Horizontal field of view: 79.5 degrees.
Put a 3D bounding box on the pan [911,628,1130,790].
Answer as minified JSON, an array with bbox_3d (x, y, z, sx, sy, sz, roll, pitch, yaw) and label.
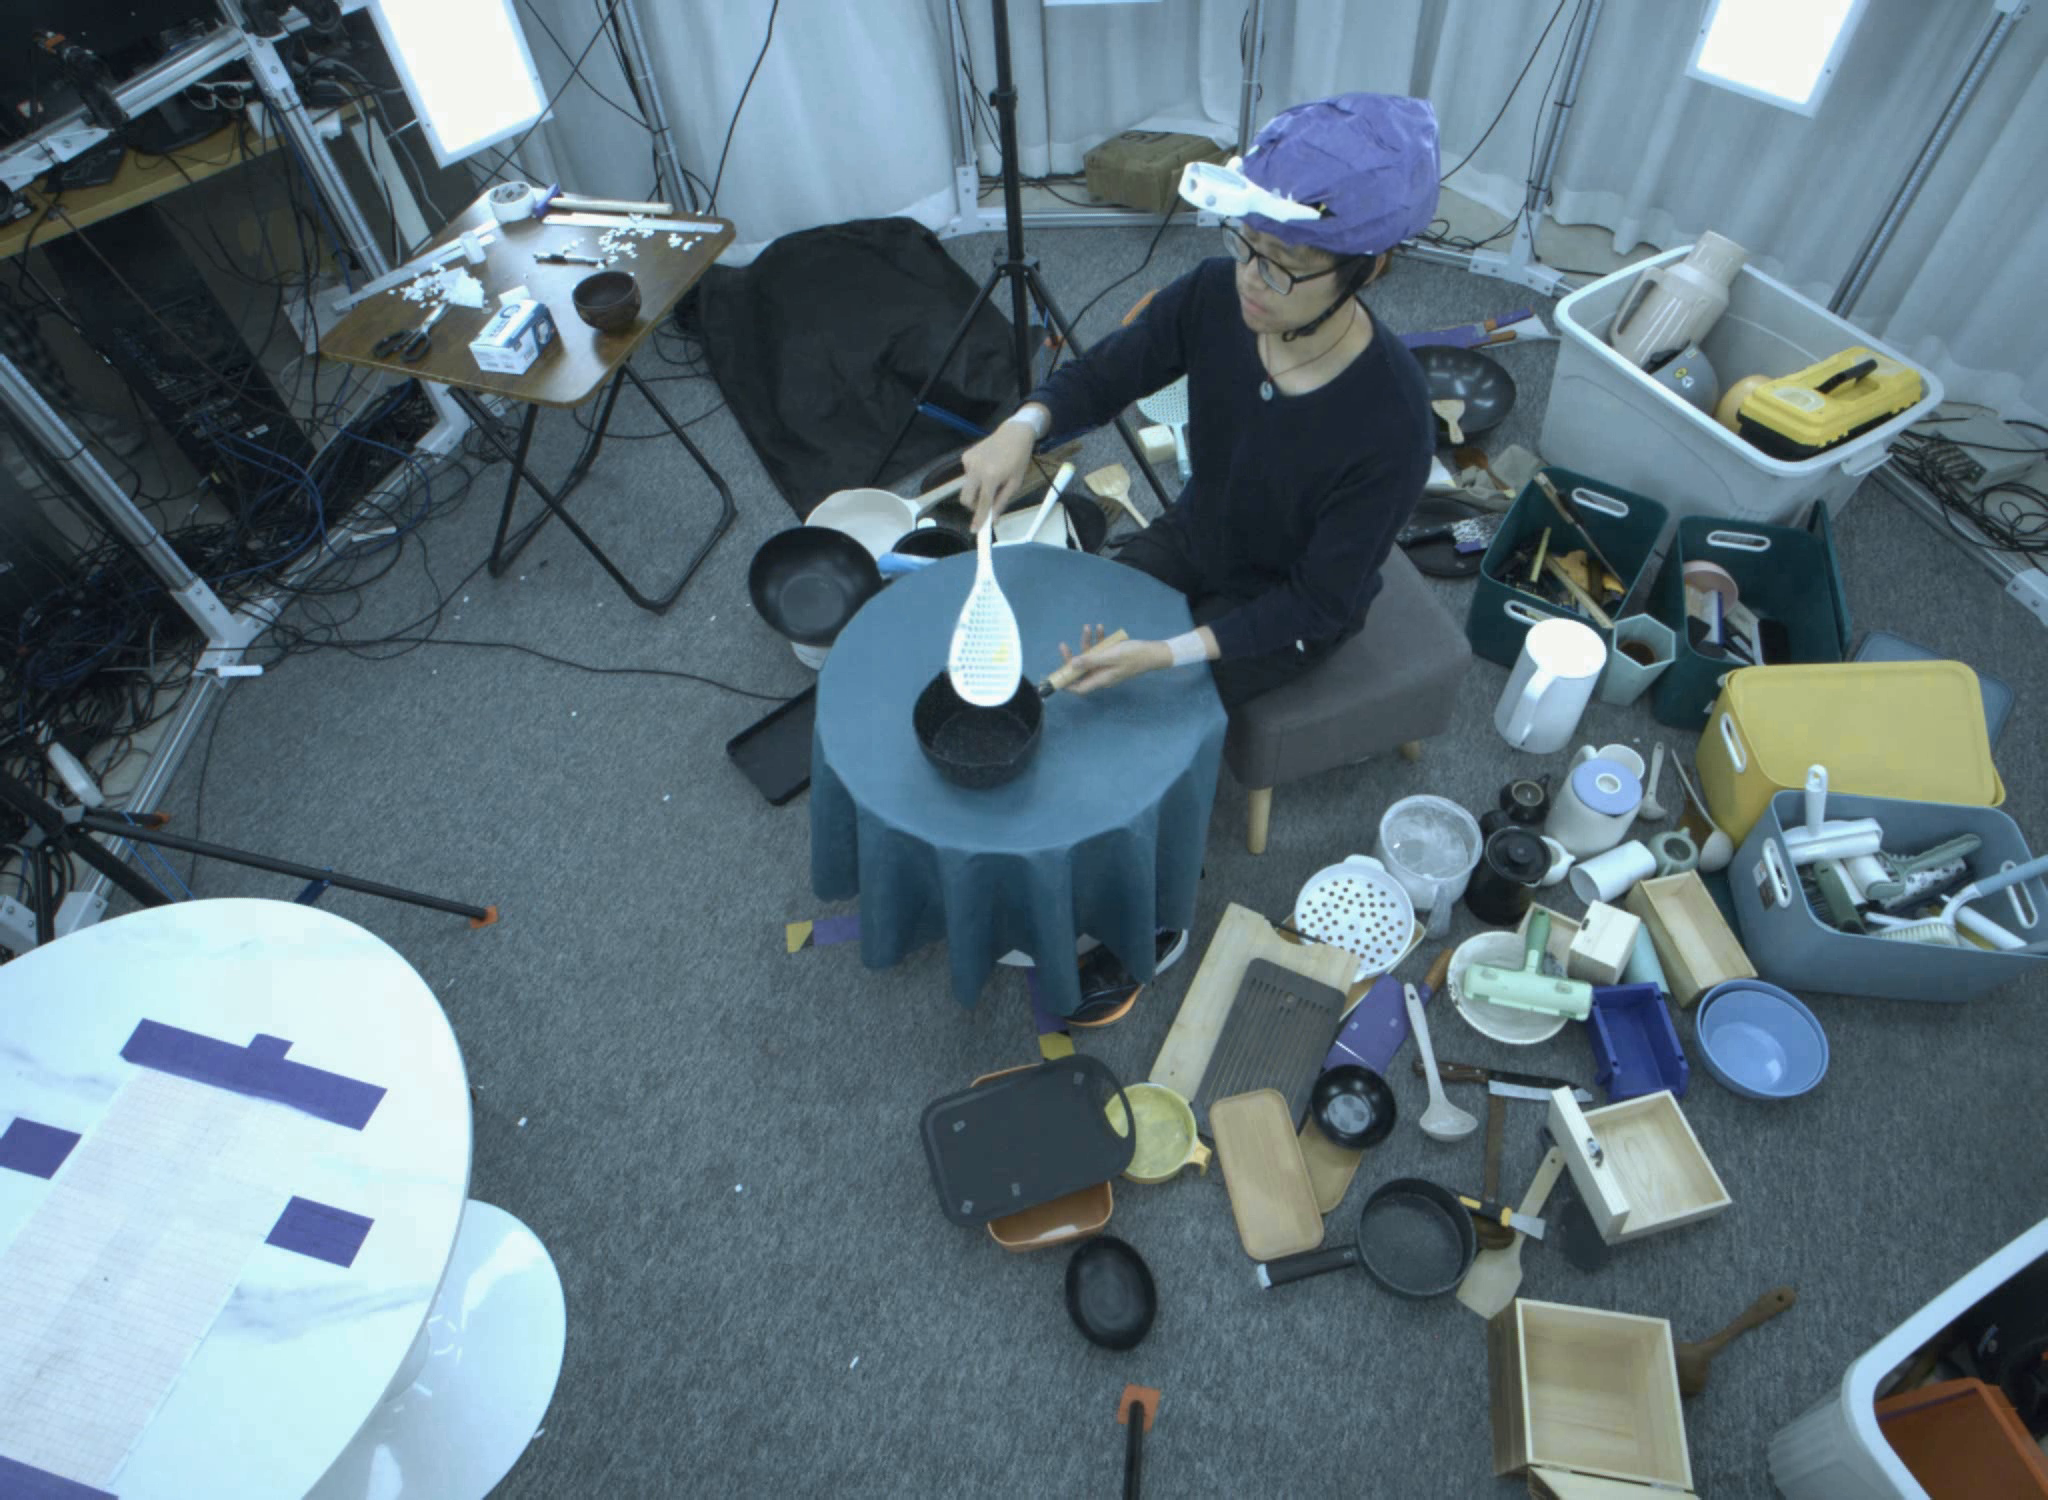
[{"bbox_3d":[0.004,-0.070,1.770,0.345,0.109,0.203,-28,57,-15],"label":"pan"}]

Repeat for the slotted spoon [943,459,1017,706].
[{"bbox_3d":[-0.057,-0.237,1.720,0.134,0.348,0.051,2,8,39],"label":"slotted spoon"}]
